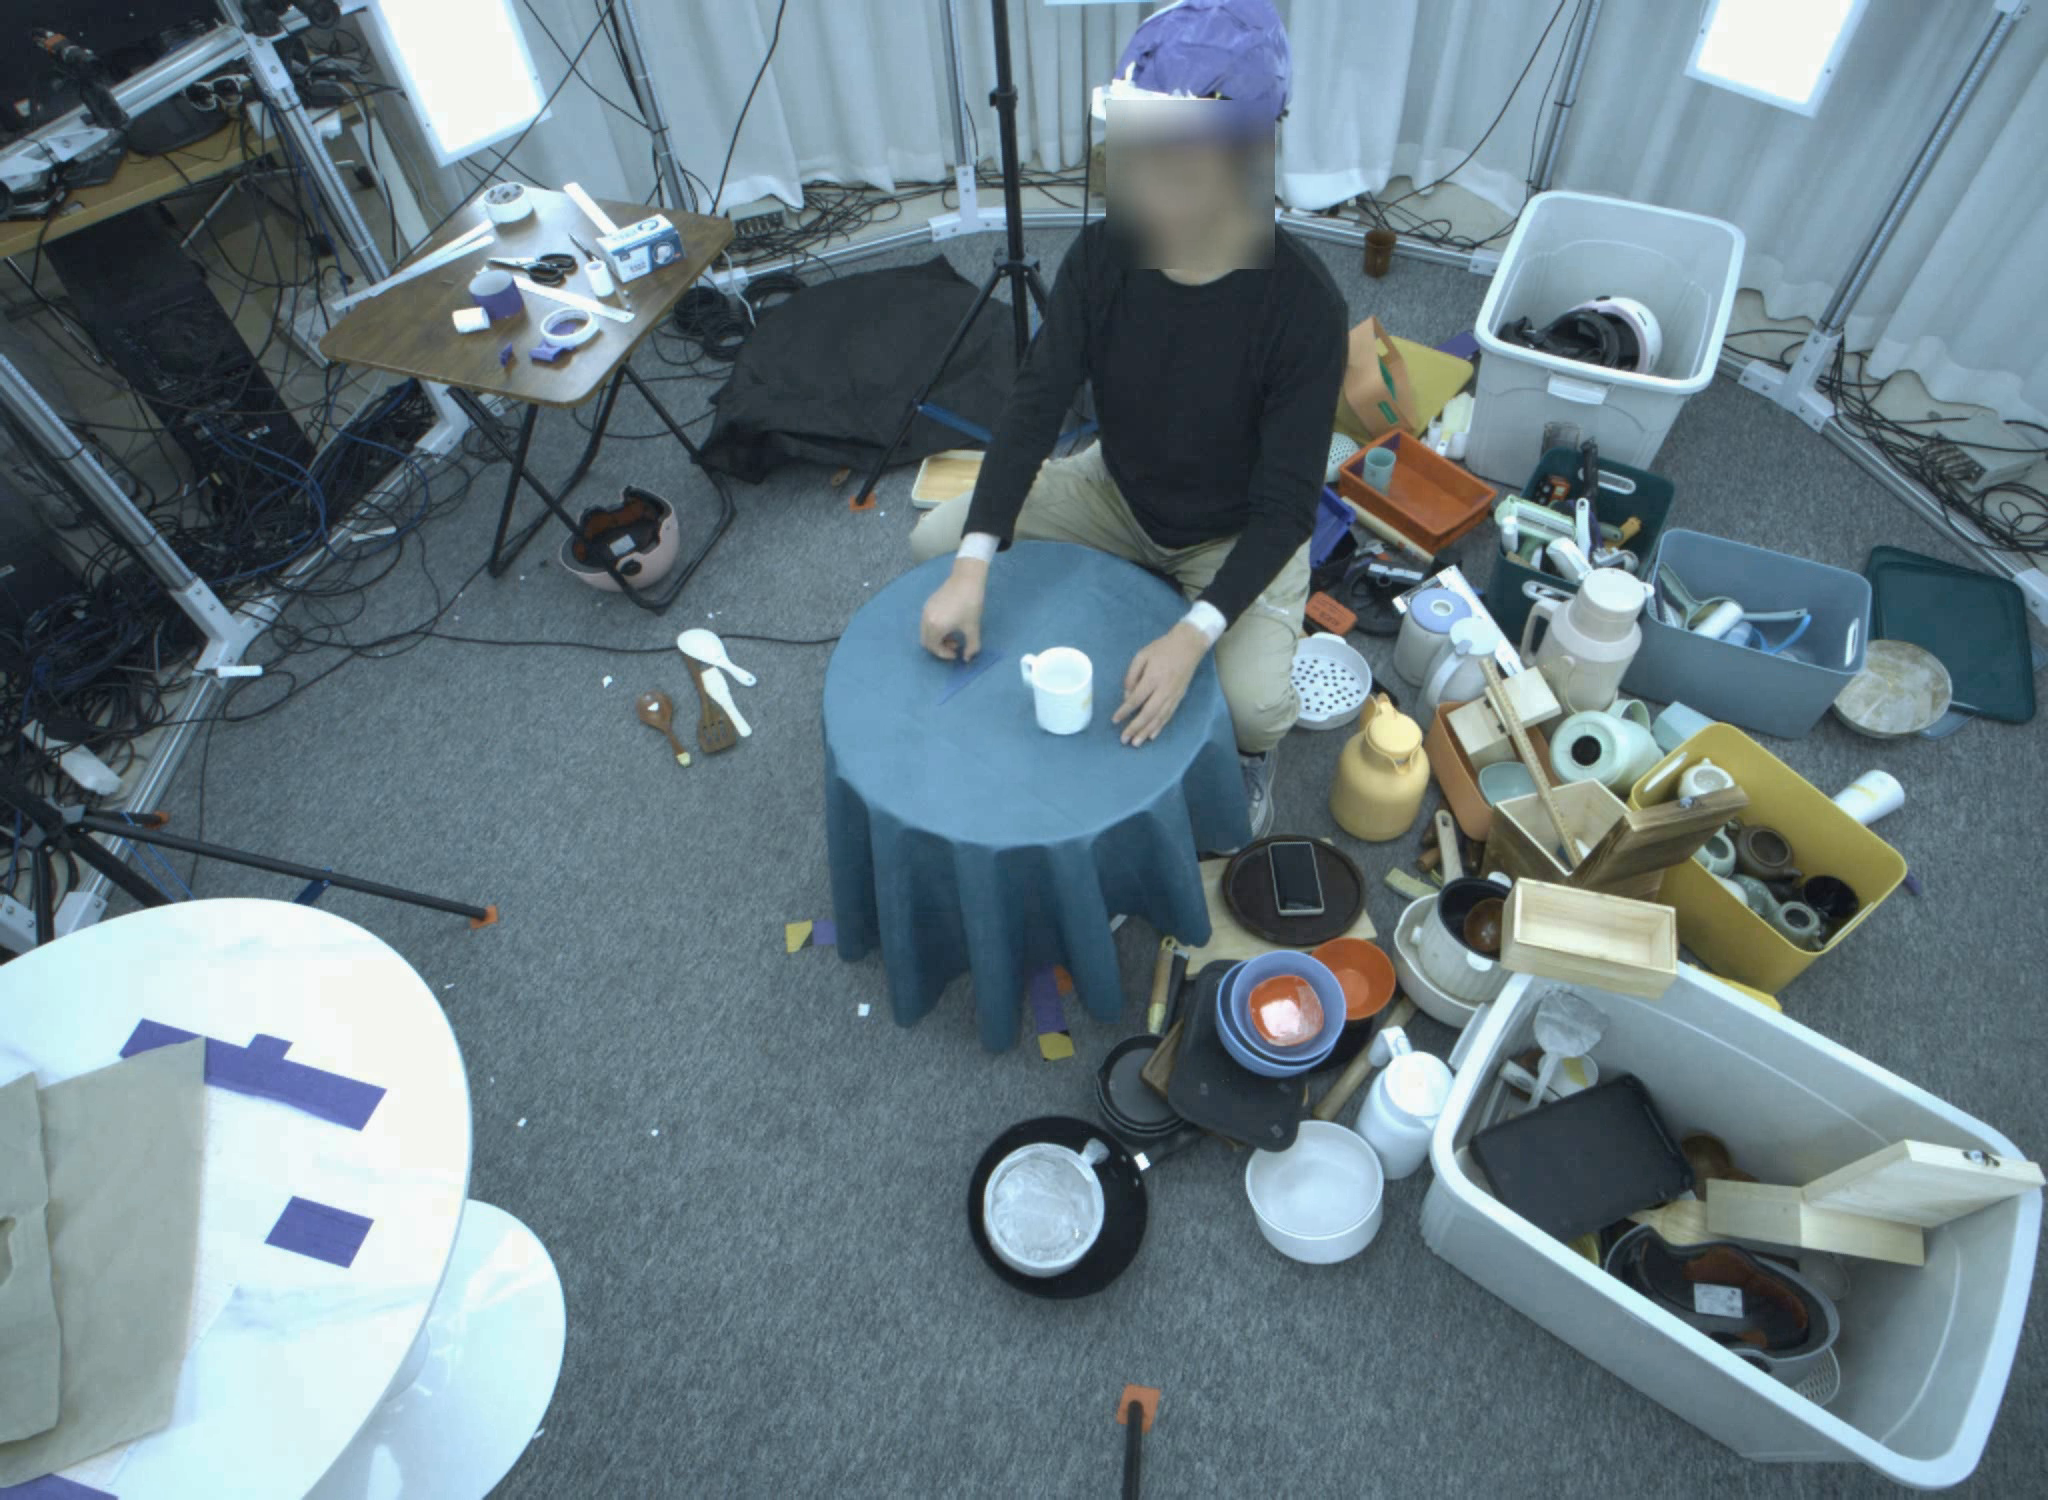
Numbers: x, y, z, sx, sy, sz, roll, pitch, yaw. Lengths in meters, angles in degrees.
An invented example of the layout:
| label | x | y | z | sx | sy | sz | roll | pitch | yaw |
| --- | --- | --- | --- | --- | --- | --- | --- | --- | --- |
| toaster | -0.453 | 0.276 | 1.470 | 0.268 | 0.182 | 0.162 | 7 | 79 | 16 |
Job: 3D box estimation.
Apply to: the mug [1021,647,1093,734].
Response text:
| label | x | y | z | sx | sy | sz | roll | pitch | yaw |
| --- | --- | --- | --- | --- | --- | --- | --- | --- | --- |
| mug | 0.045 | -0.092 | 1.788 | 0.116 | 0.103 | 0.085 | 33 | 63 | 23 |

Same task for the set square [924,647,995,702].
| label | x | y | z | sx | sy | sz | roll | pitch | yaw |
| --- | --- | --- | --- | --- | --- | --- | --- | --- | --- |
| set square | -0.112 | -0.123 | 1.877 | 0.133 | 0.006 | 0.060 | -37 | 61 | -20 |
